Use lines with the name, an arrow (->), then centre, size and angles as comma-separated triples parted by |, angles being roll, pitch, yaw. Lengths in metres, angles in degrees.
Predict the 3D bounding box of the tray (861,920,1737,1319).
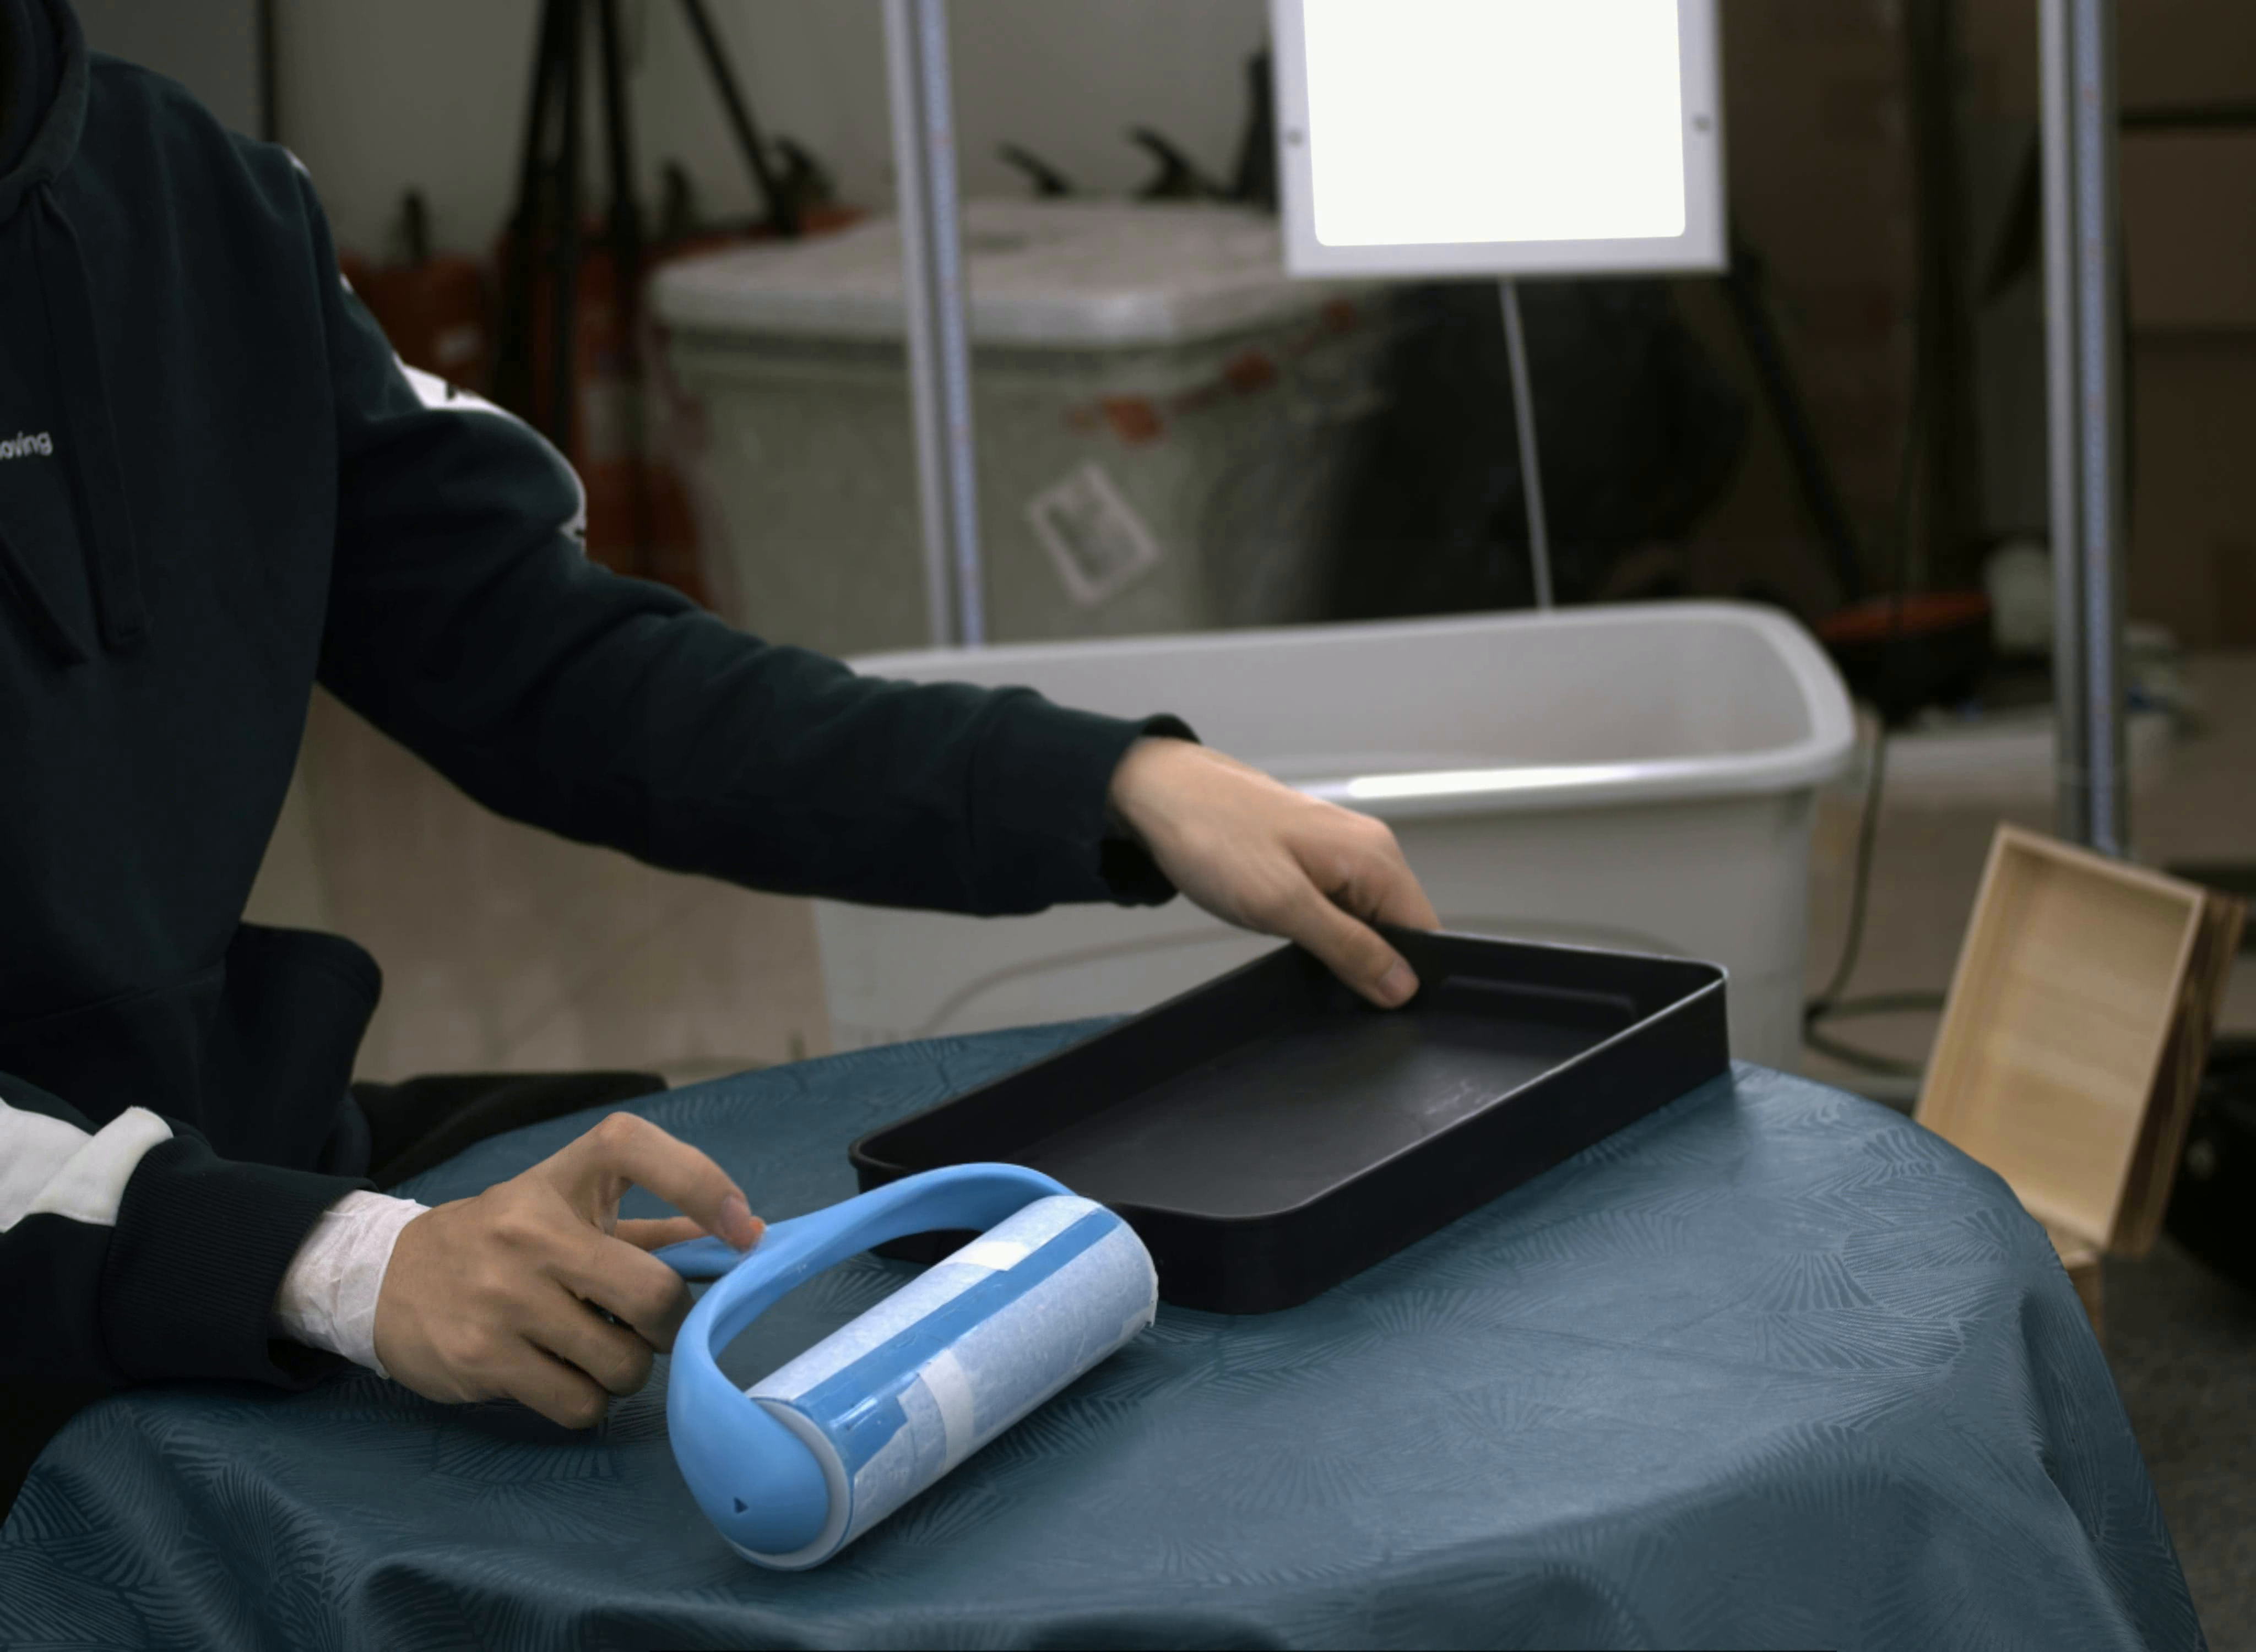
tray -> 0.067, 0.097, 1.920 | 0.188, 0.037, 0.310 | 4, 18, 36

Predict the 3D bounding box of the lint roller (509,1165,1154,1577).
lint roller -> -0.111, 0.157, 1.676 | 0.183, 0.068, 0.224 | 7, 20, 24
